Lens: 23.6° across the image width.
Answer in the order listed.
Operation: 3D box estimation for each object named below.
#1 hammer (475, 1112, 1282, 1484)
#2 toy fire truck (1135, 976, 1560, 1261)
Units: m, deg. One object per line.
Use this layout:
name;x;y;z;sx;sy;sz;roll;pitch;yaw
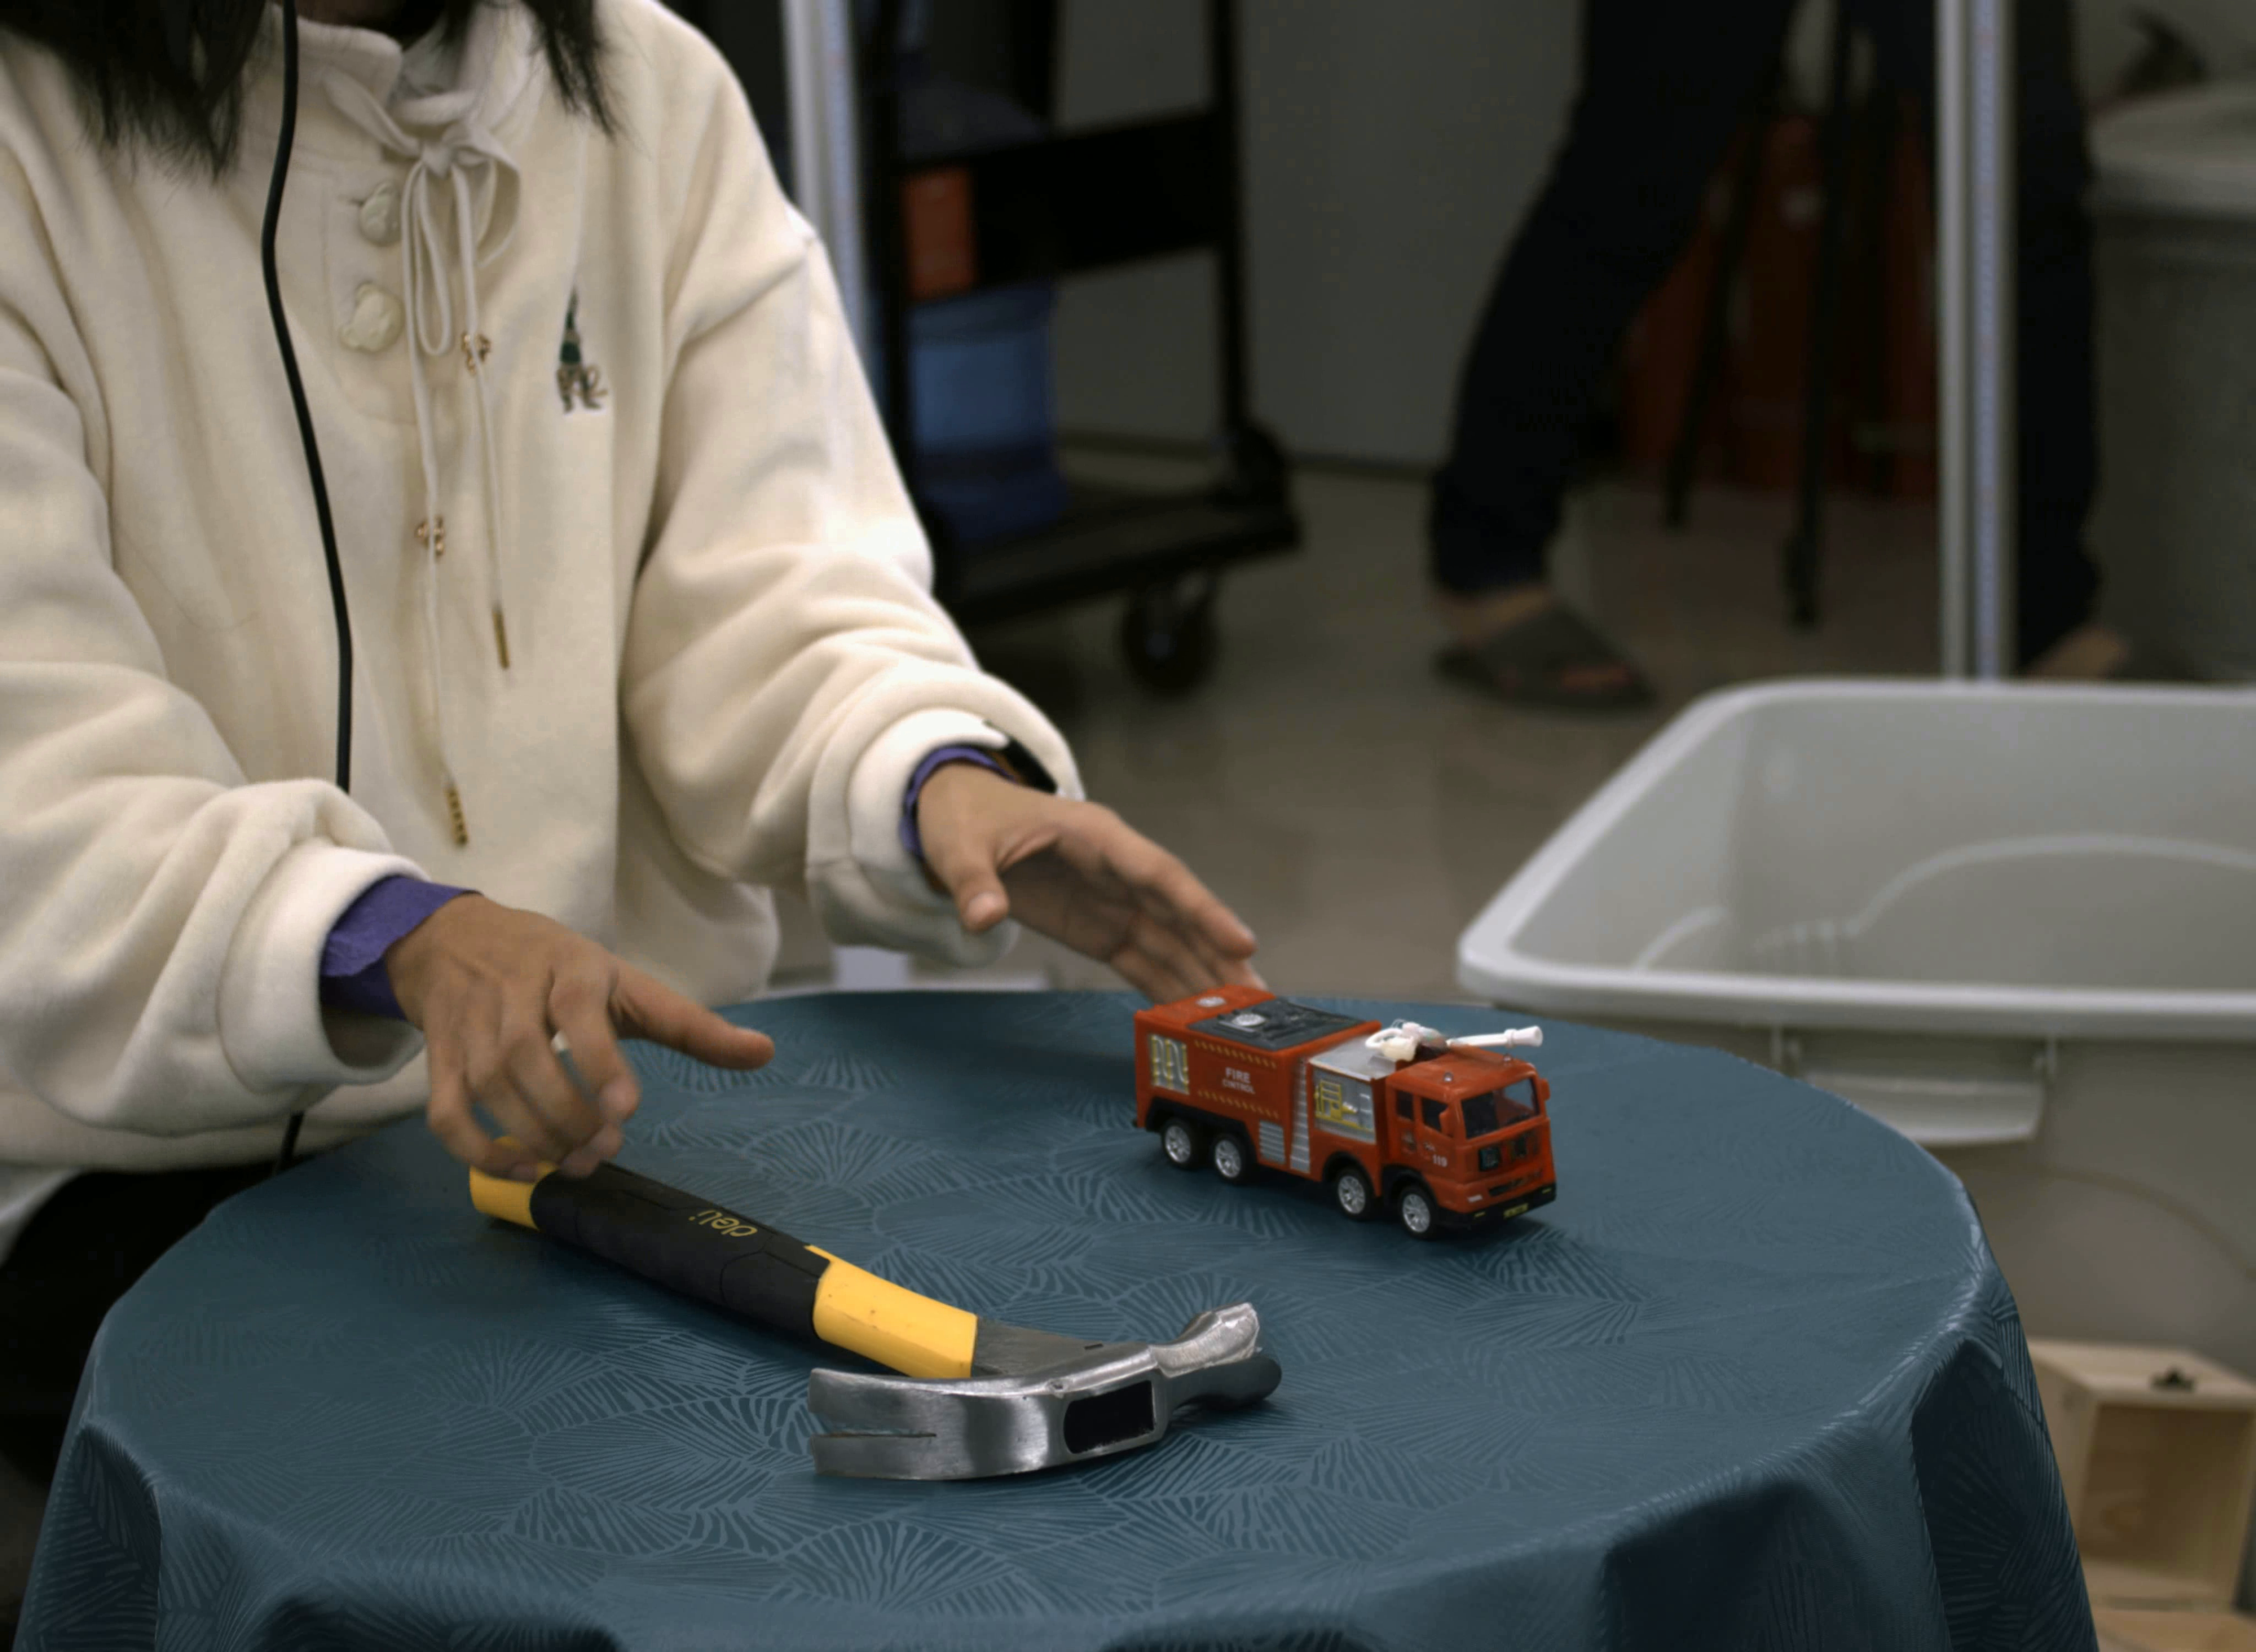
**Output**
hammer;-0.104;0.136;1.657;0.128;0.032;0.342;-15;18;-33
toy fire truck;0.070;0.091;1.748;0.053;0.071;0.169;-14;16;-38
